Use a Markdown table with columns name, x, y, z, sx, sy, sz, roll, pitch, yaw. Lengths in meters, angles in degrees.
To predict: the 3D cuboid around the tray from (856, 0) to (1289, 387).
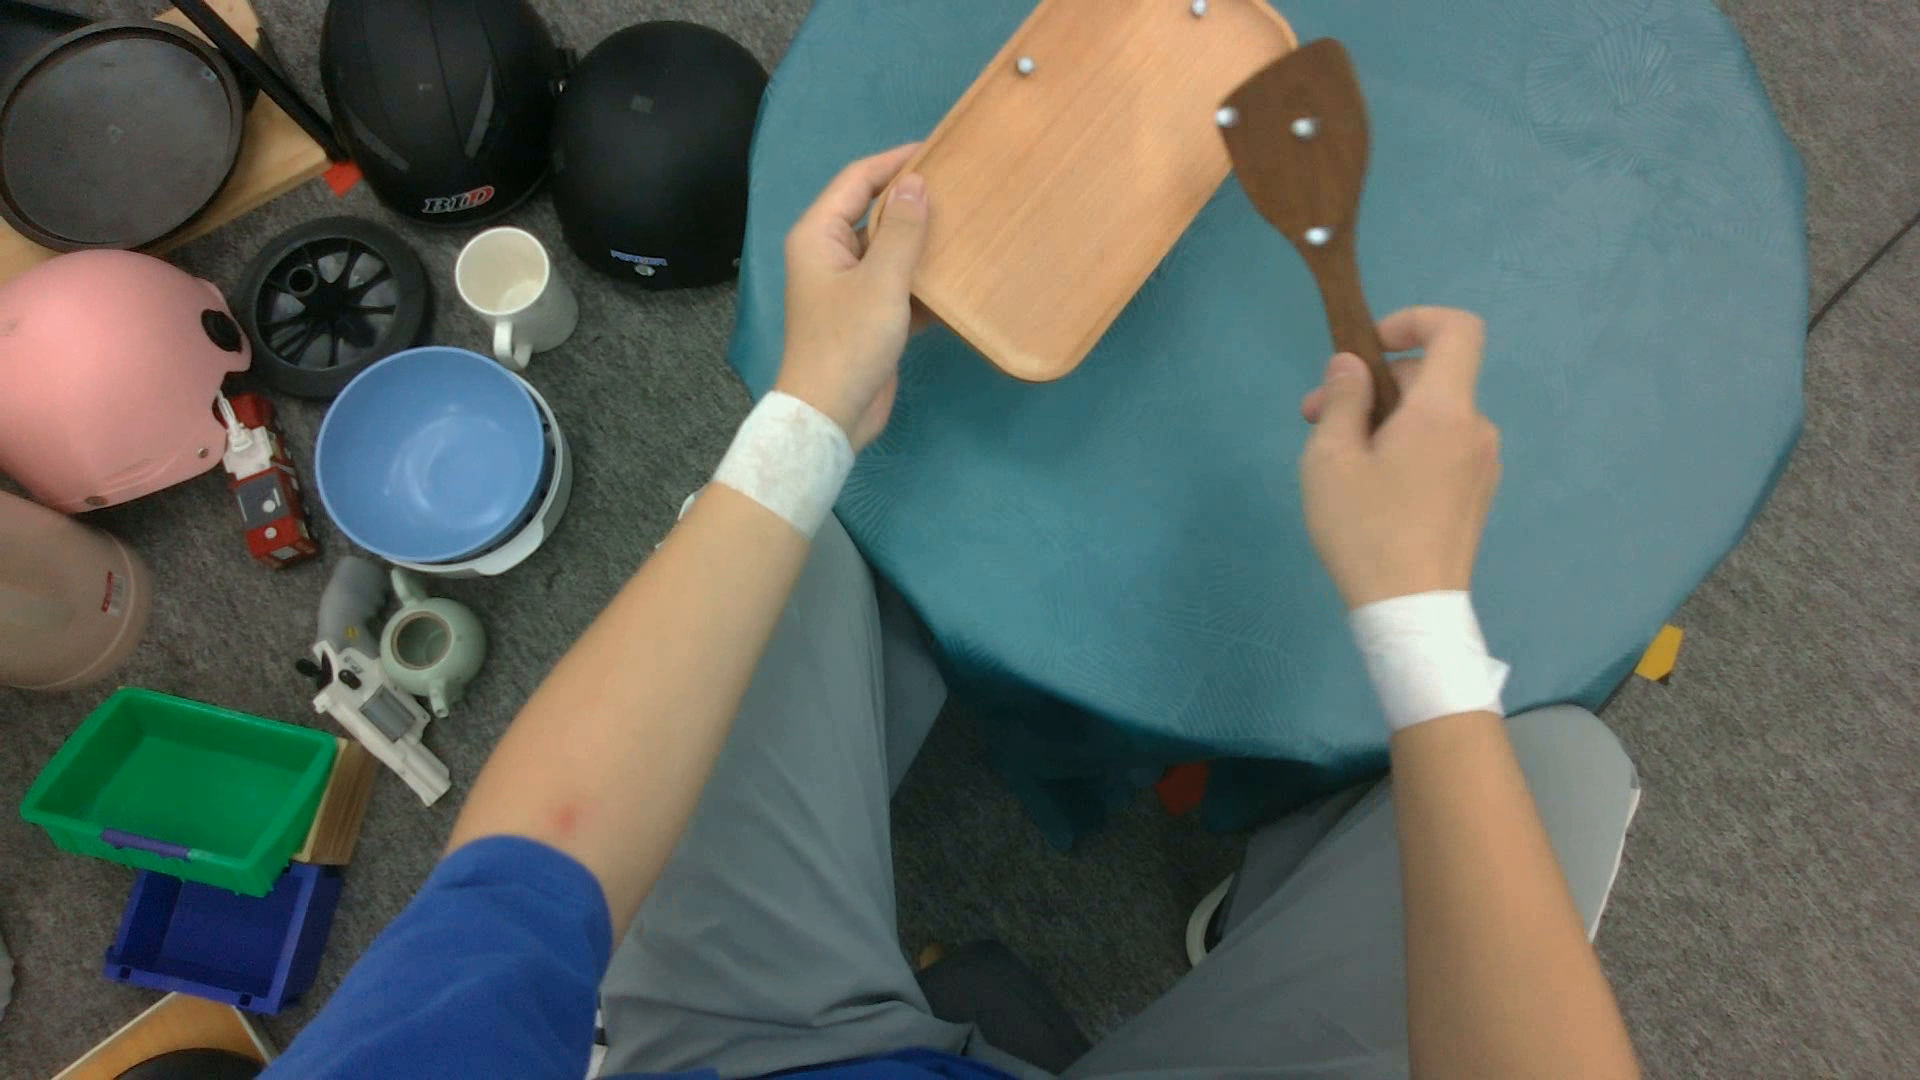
| name | x | y | z | sx | sy | sz | roll | pitch | yaw |
| --- | --- | --- | --- | --- | --- | --- | --- | --- | --- |
| tray | 0.062 | -0.199 | 0.714 | 0.130 | 0.023 | 0.251 | 40 | 76 | -1 |

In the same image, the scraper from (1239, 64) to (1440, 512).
| name | x | y | z | sx | sy | sz | roll | pitch | yaw |
| --- | --- | --- | --- | --- | --- | --- | --- | --- | --- |
| scraper | 0.190 | -0.117 | 0.653 | 0.075 | 0.011 | 0.211 | -16 | 83 | 33 |
